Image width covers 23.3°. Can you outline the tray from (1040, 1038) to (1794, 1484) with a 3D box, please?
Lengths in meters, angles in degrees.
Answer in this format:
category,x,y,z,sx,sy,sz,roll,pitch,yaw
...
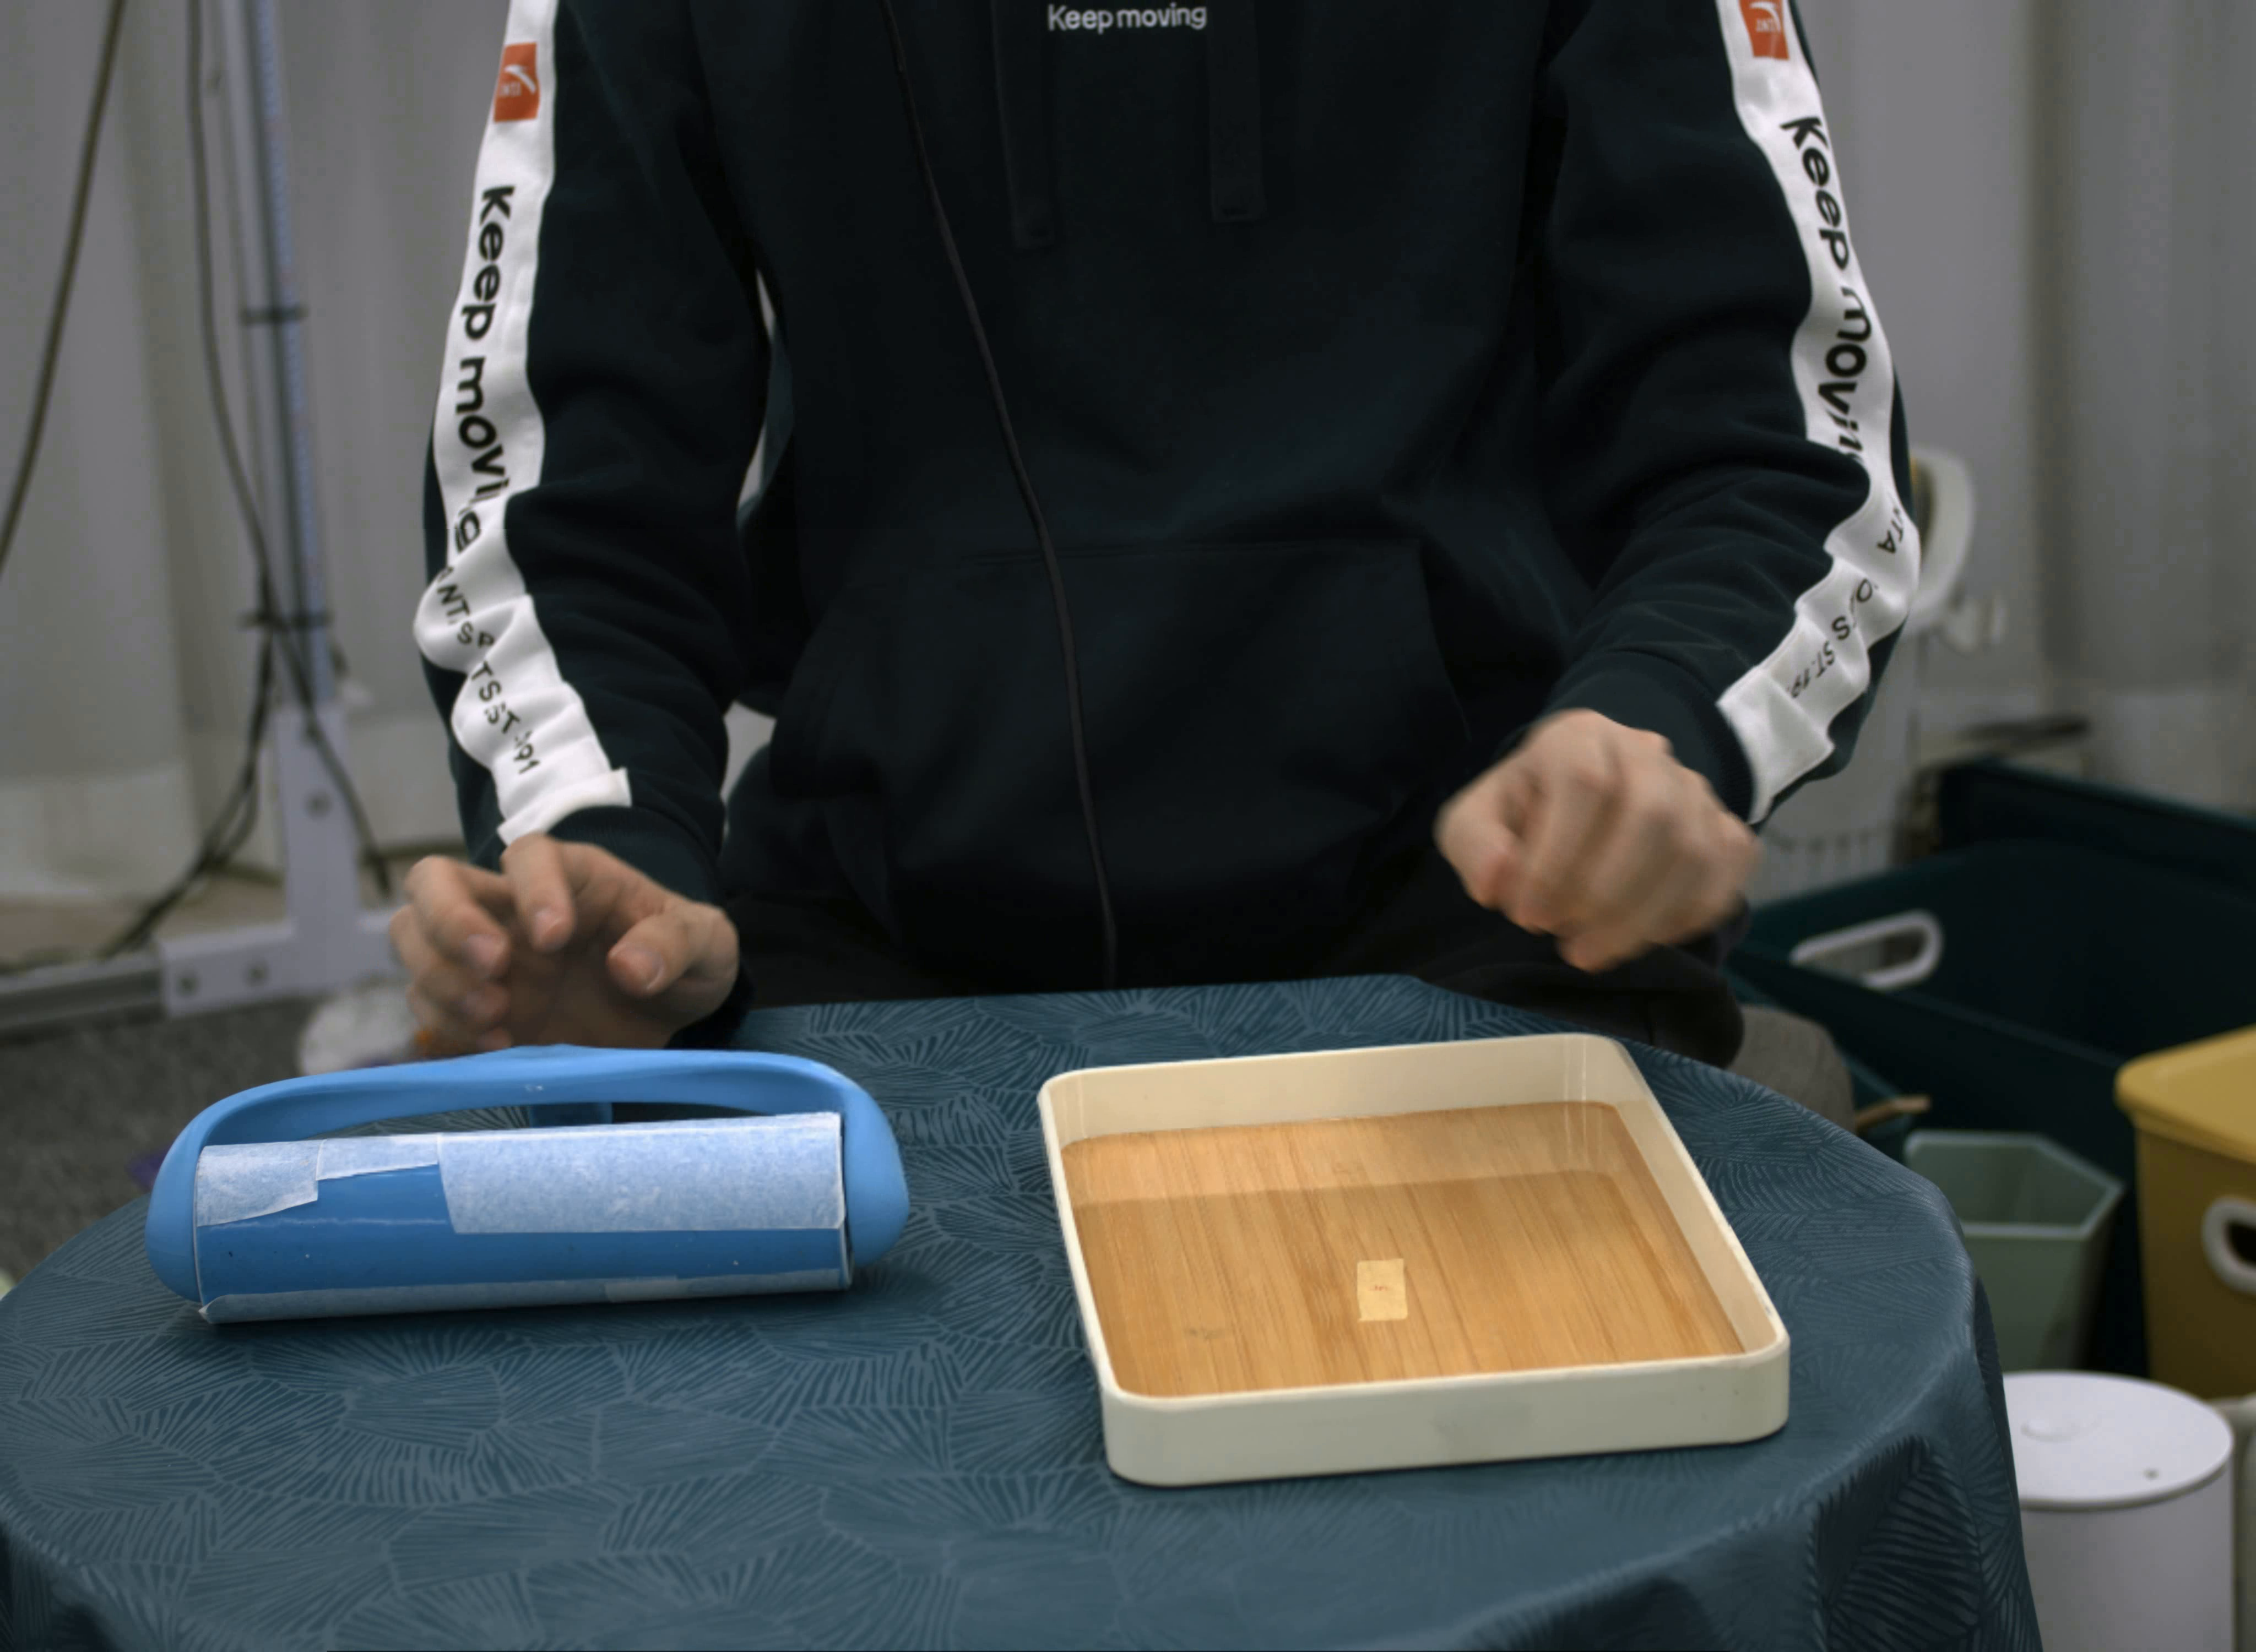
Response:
category,x,y,z,sx,sy,sz,roll,pitch,yaw
tray,0.077,0.124,1.614,0.191,0.027,0.302,-4,15,-3

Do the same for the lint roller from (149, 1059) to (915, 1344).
category,x,y,z,sx,sy,sz,roll,pitch,yaw
lint roller,-0.183,0.103,1.690,0.228,0.067,0.181,-6,16,-4
